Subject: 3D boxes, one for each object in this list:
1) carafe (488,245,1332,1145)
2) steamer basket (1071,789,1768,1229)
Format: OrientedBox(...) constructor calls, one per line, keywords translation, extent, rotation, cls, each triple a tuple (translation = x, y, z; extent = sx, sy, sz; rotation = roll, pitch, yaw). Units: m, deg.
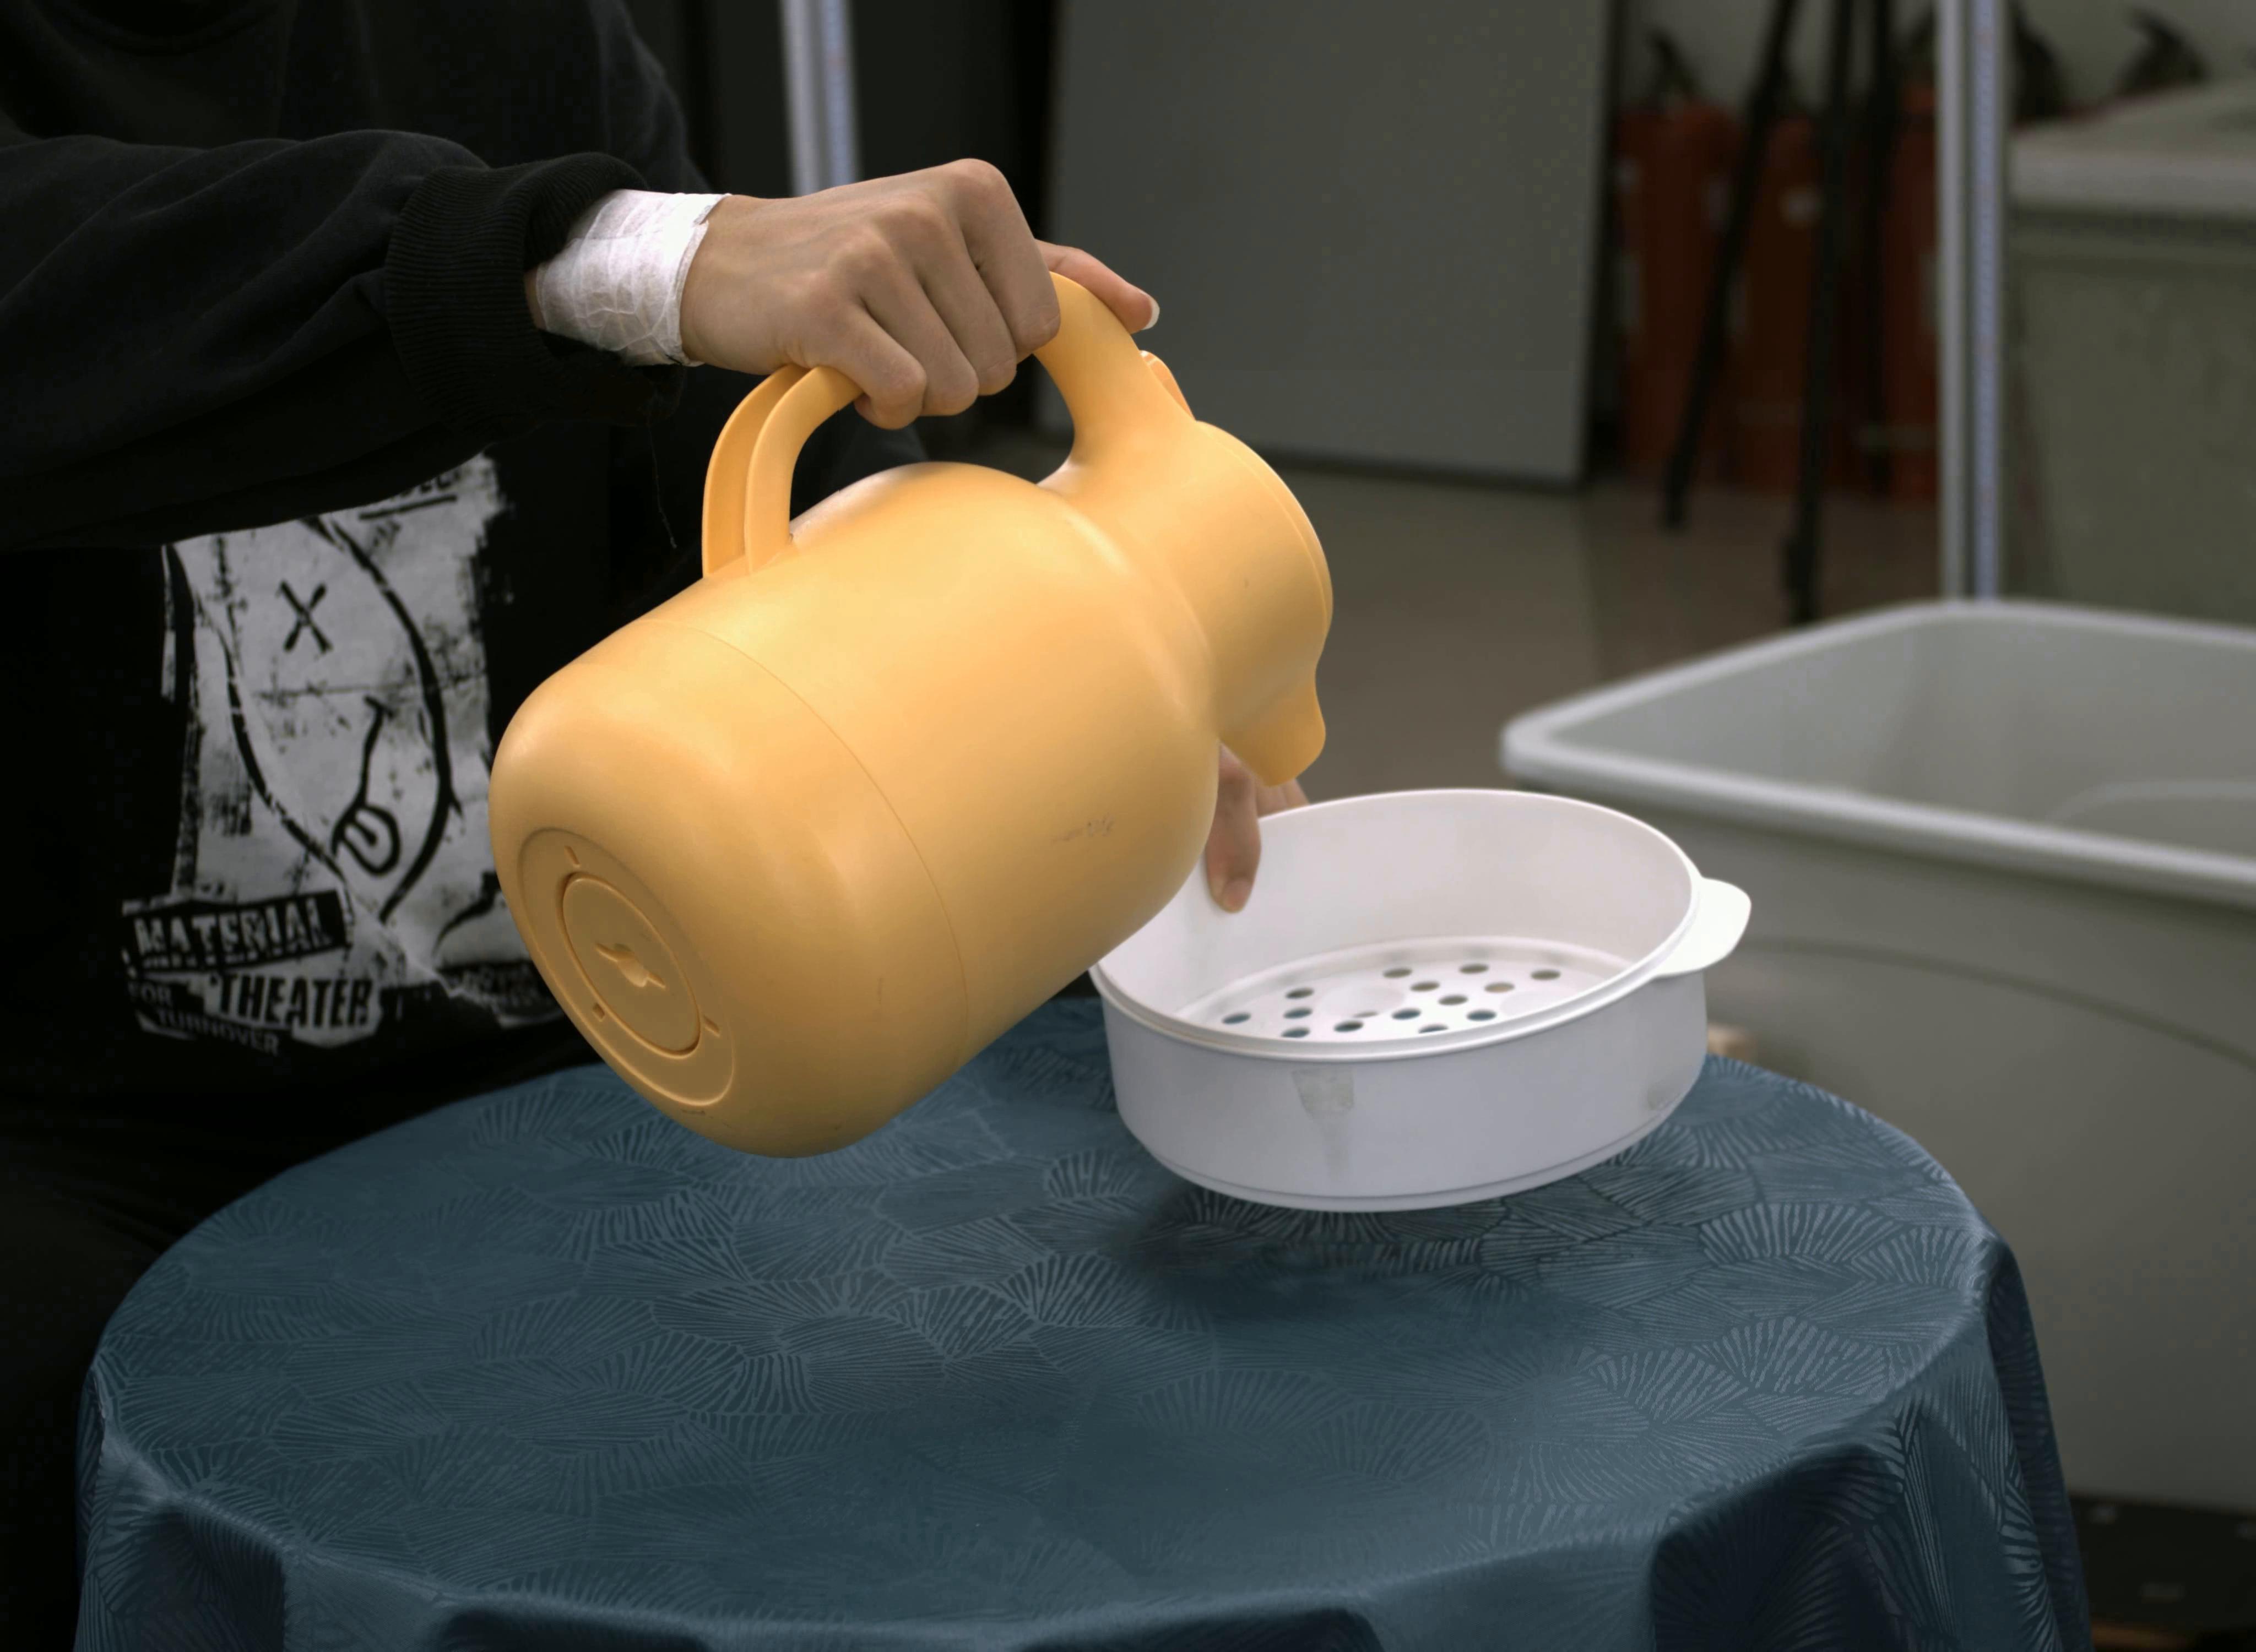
OrientedBox(translation=(-0.063, -0.047, 1.598), extent=(0.257, 0.203, 0.165), rotation=(-35, 14, -32), cls="carafe")
OrientedBox(translation=(0.094, 0.058, 1.731), extent=(0.230, 0.070, 0.200), rotation=(0, 24, 20), cls="steamer basket")
